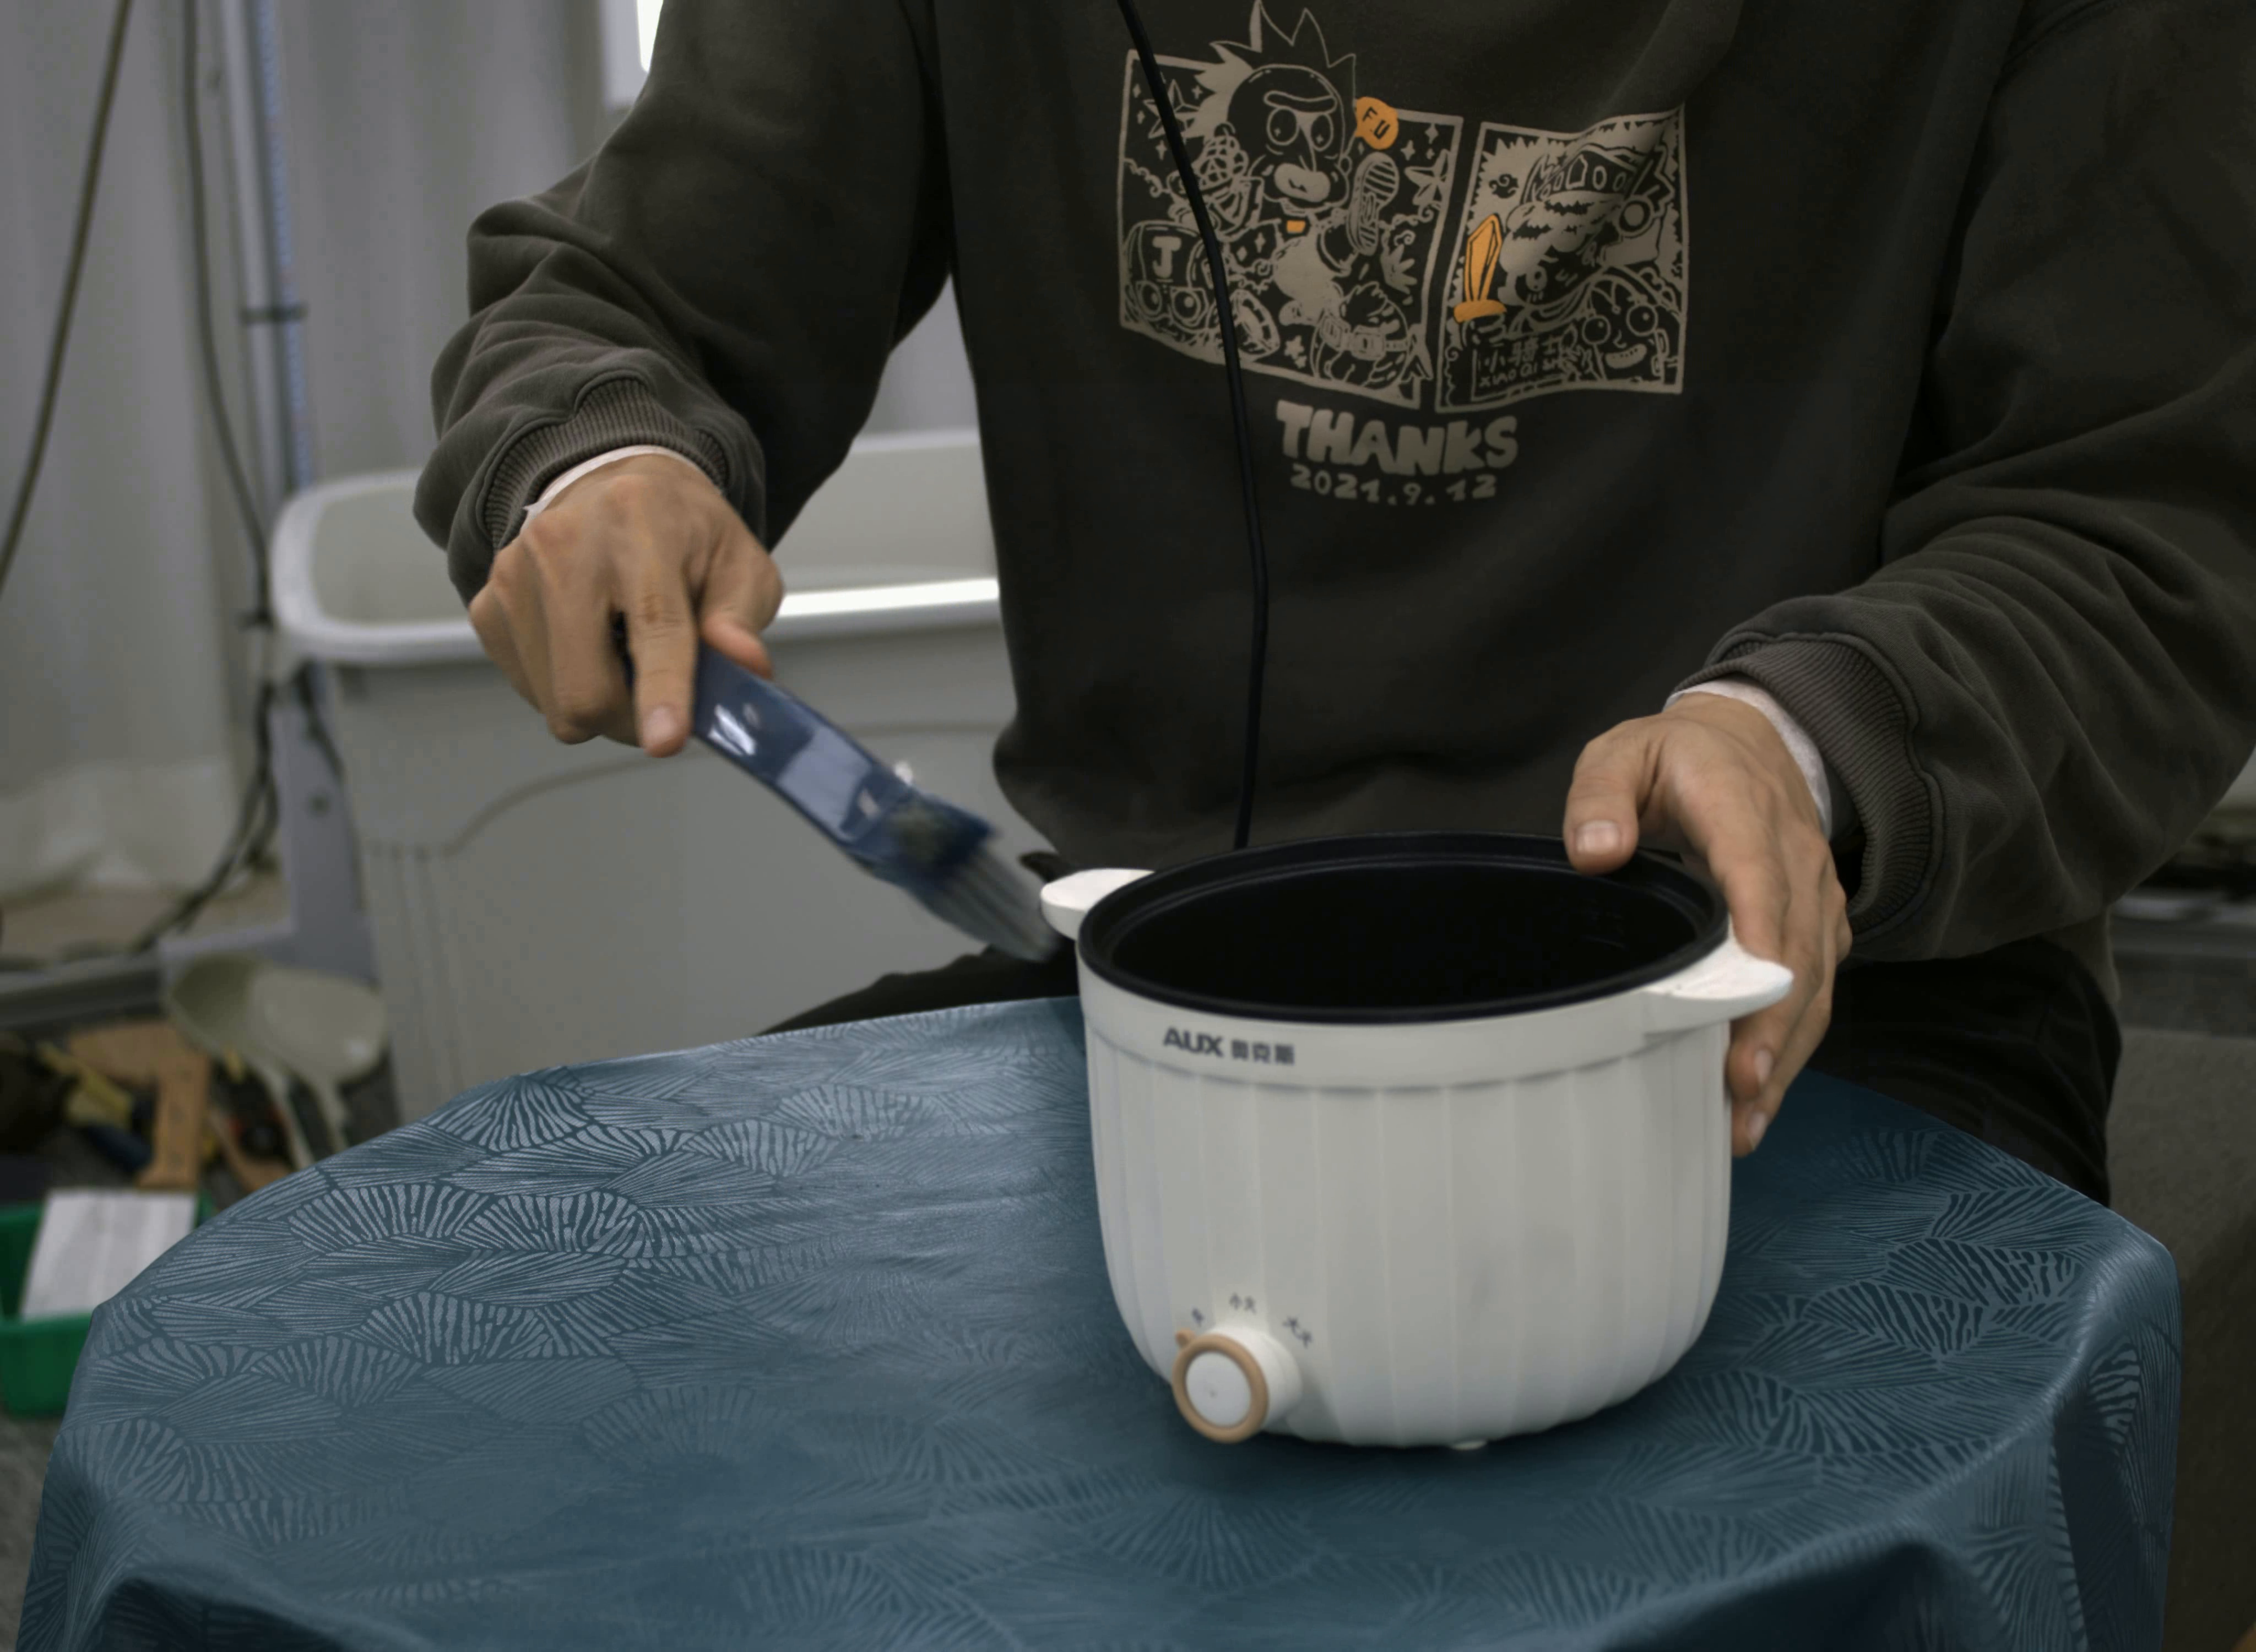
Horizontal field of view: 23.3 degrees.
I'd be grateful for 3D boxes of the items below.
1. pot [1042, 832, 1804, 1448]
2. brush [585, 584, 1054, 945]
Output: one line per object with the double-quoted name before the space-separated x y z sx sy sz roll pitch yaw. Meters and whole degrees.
"pot" 0.078 0.091 1.530 0.241 0.142 0.190 6 14 34
"brush" -0.098 -0.030 1.557 0.033 0.094 0.276 -48 40 -7
